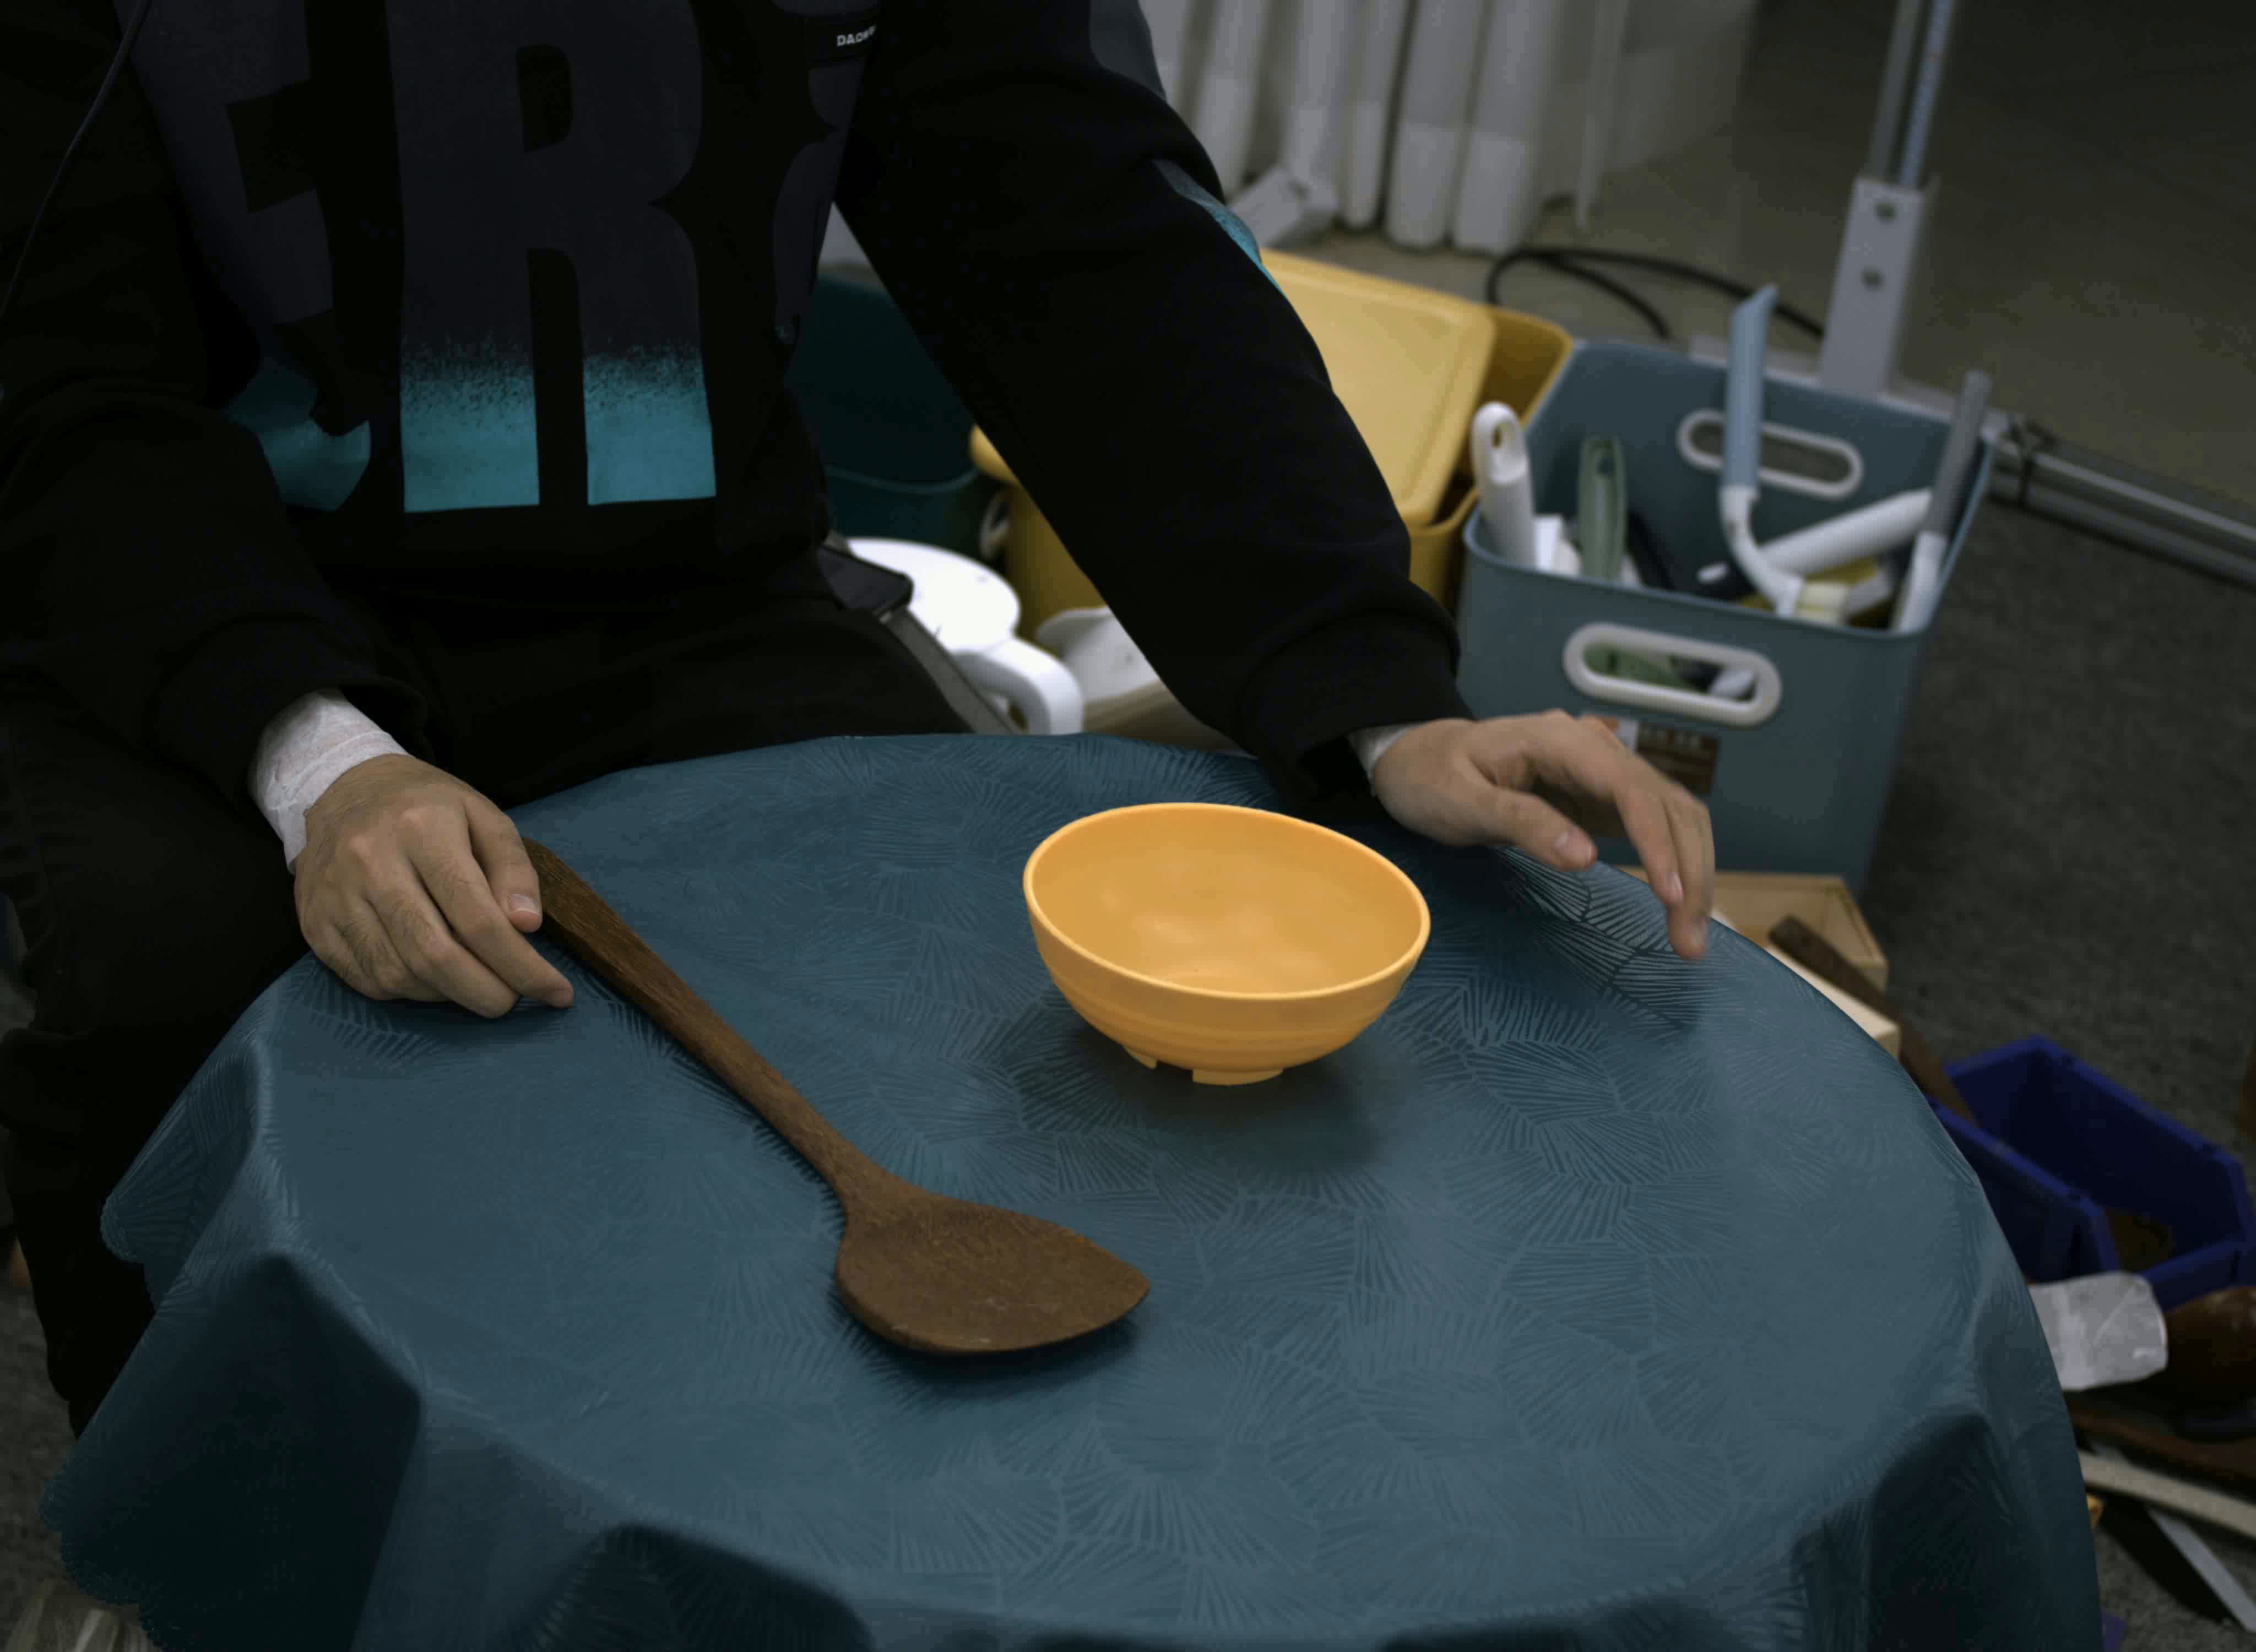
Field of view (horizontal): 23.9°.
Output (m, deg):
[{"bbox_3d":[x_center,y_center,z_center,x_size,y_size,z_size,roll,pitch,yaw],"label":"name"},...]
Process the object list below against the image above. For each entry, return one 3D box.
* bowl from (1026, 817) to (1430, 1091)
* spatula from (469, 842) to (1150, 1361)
[{"bbox_3d":[0.032,0.053,1.886,0.145,0.060,0.146,5,25,-3],"label":"bowl"},{"bbox_3d":[-0.130,0.086,1.830,0.095,0.016,0.389,-12,32,-33],"label":"spatula"}]
